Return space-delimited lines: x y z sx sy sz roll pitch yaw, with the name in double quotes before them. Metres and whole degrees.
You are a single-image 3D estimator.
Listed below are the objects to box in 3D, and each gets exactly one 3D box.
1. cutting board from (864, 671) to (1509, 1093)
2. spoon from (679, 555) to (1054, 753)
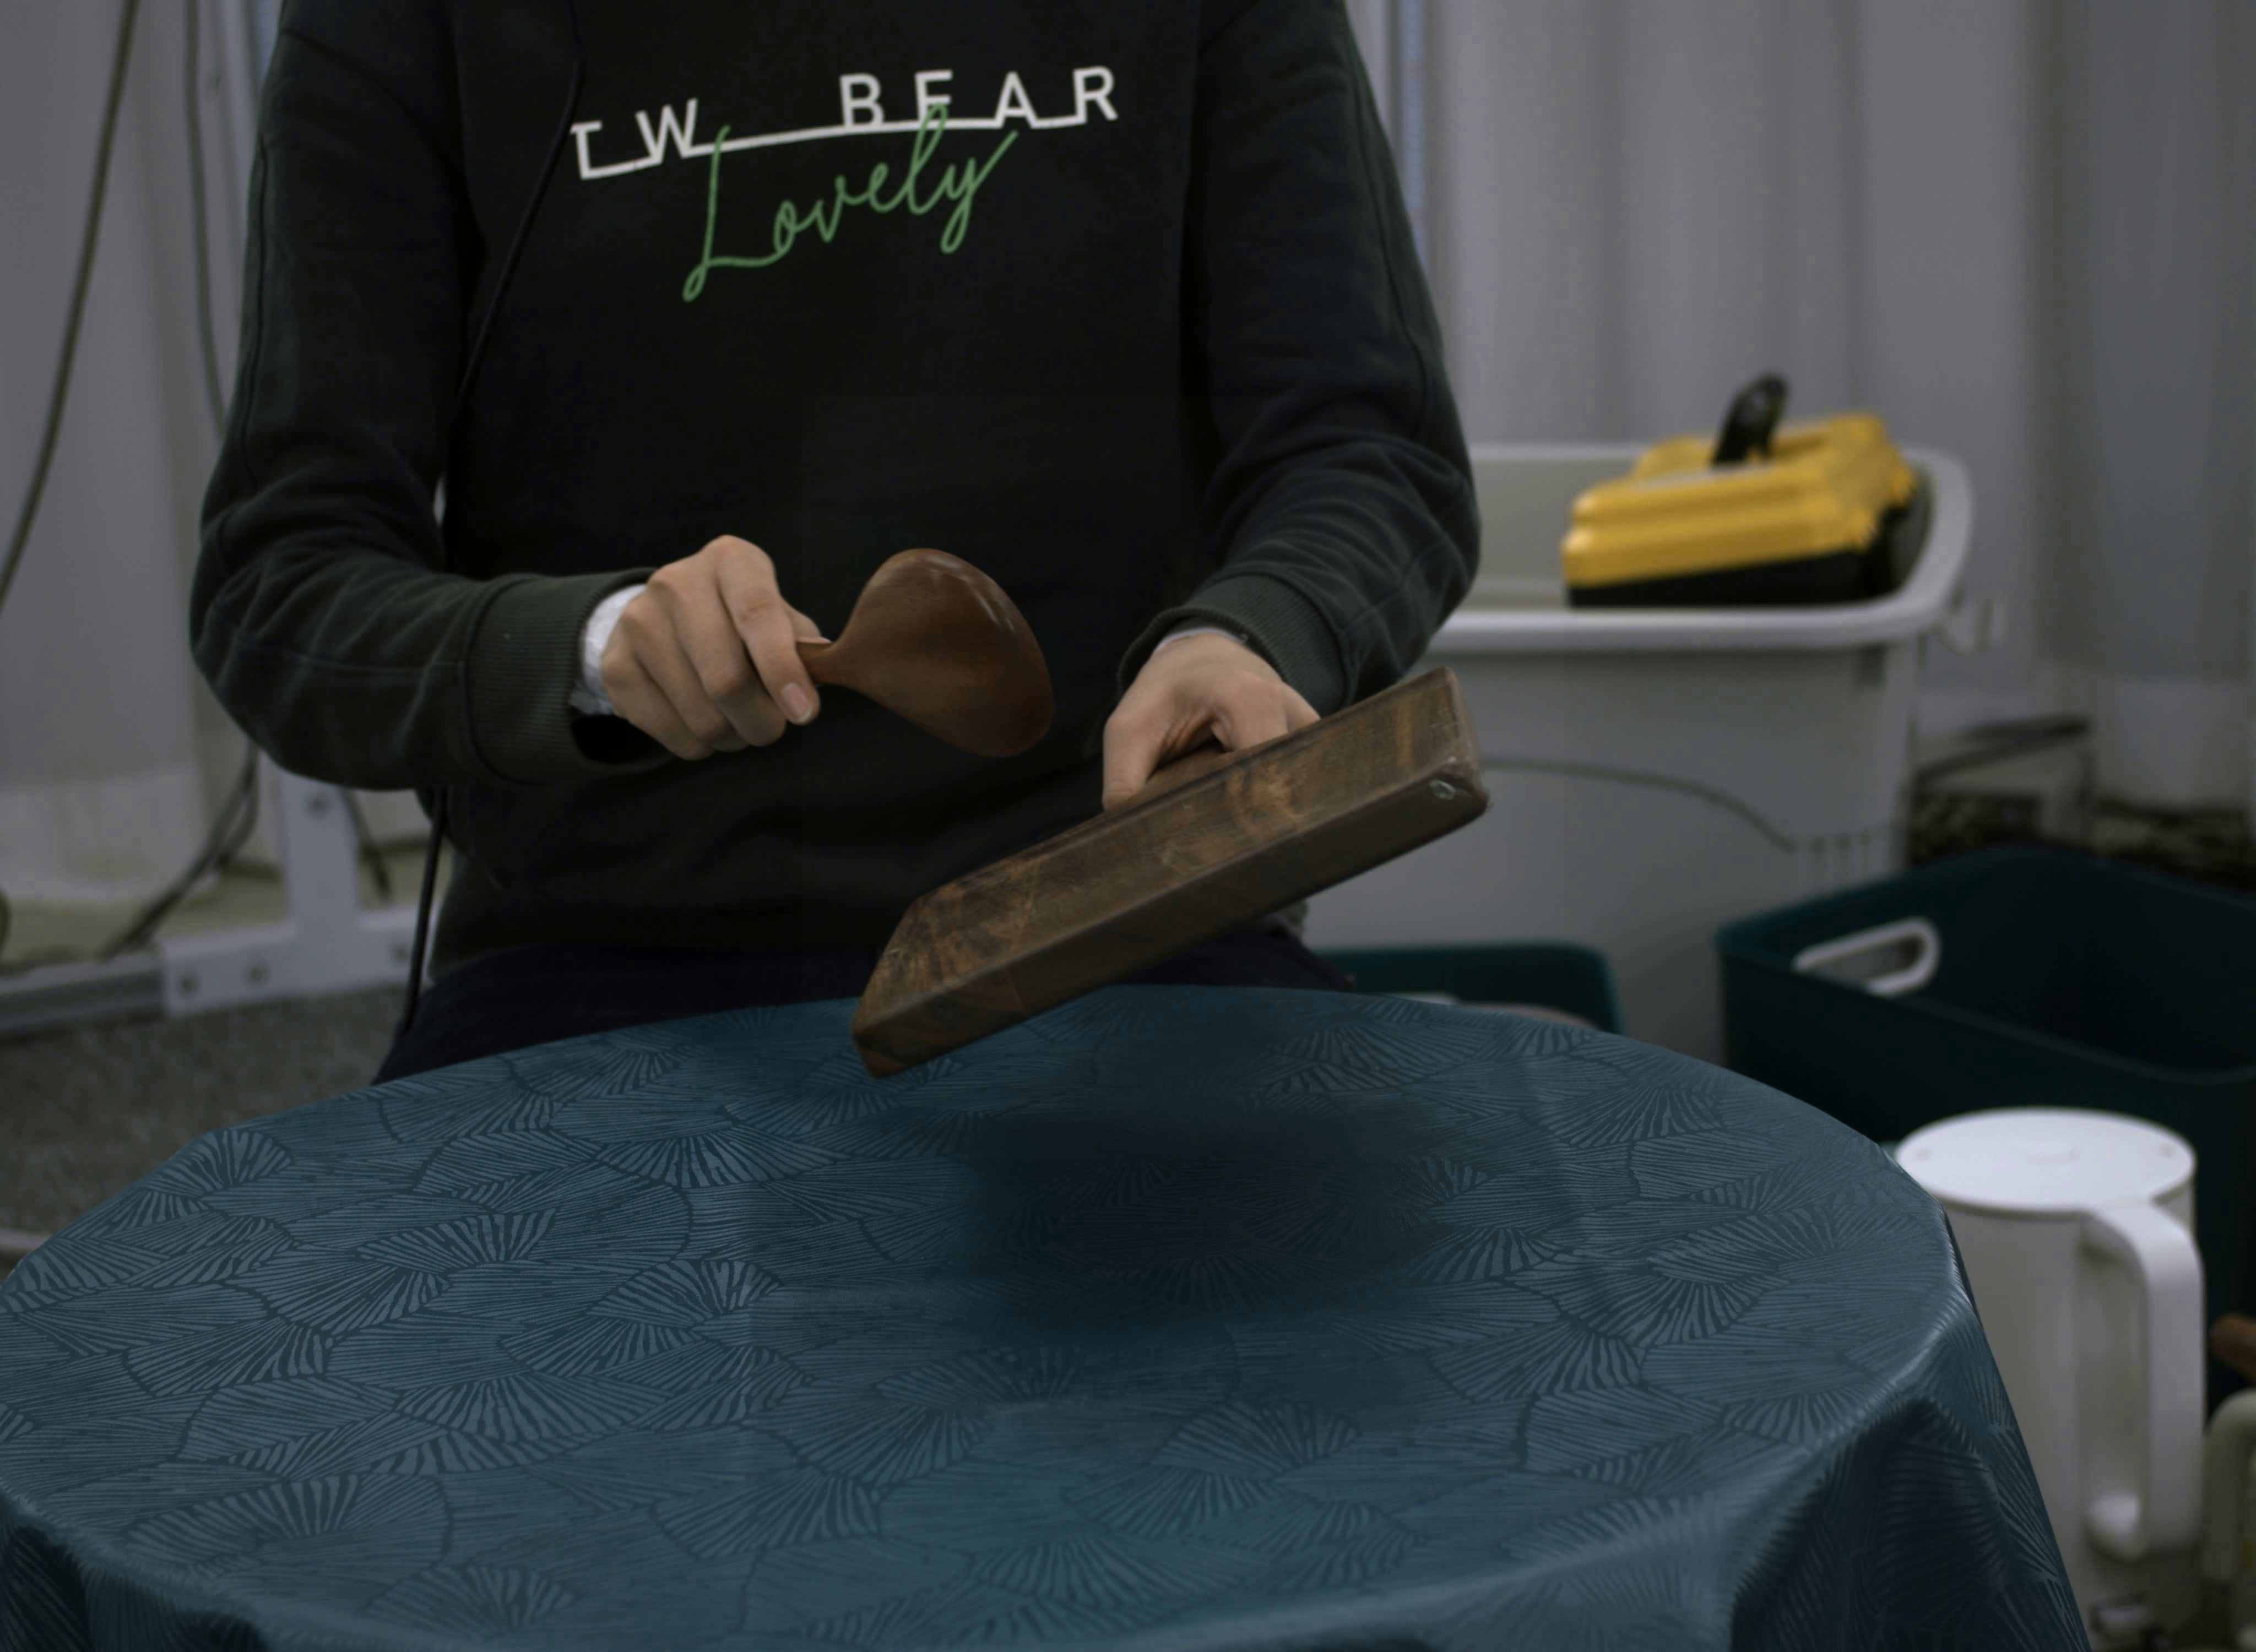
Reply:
"cutting board" 0.020 0.007 1.716 0.200 0.023 0.353 -25 6 5
"spoon" -0.091 -0.052 1.785 0.017 0.075 0.216 -38 19 -26
